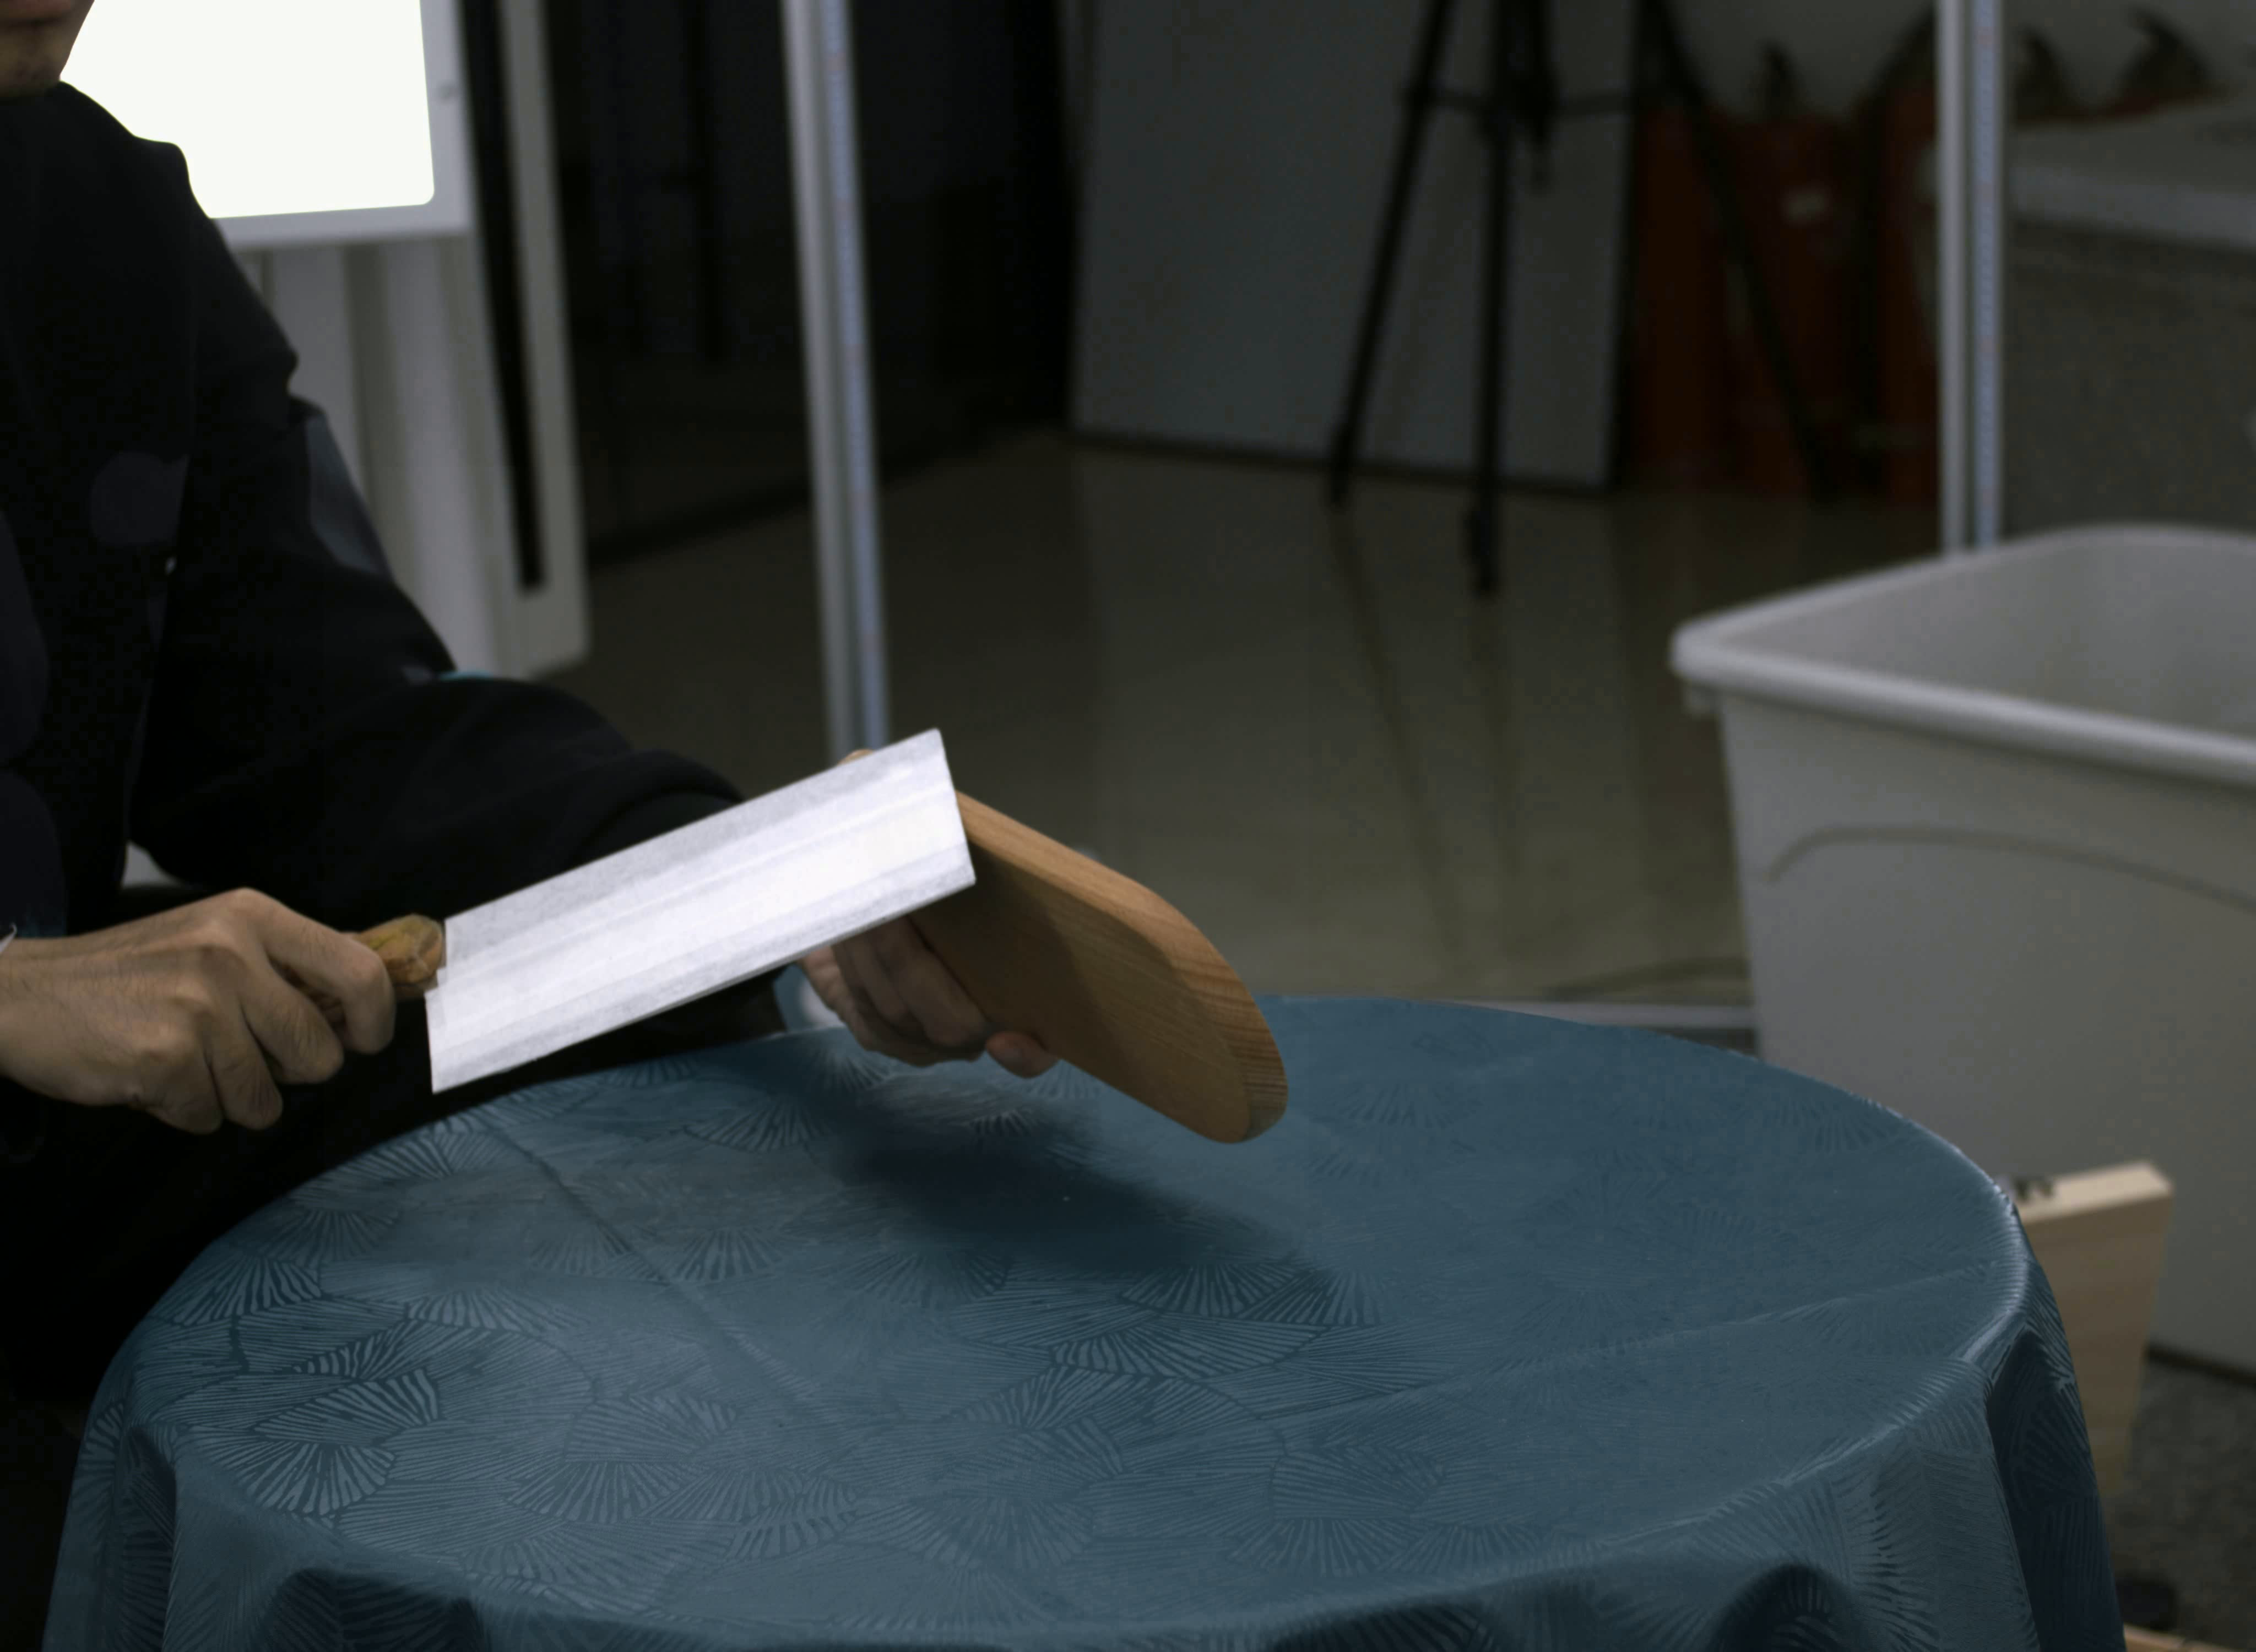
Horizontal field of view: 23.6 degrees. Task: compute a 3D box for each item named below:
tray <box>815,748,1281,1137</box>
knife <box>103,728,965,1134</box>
[{"bbox_3d":[-0.030,0.038,1.767,0.020,0.102,0.233,-37,35,-25],"label":"tray"},{"bbox_3d":[-0.195,0.047,1.771,0.303,0.021,0.094,-22,36,5],"label":"knife"}]
